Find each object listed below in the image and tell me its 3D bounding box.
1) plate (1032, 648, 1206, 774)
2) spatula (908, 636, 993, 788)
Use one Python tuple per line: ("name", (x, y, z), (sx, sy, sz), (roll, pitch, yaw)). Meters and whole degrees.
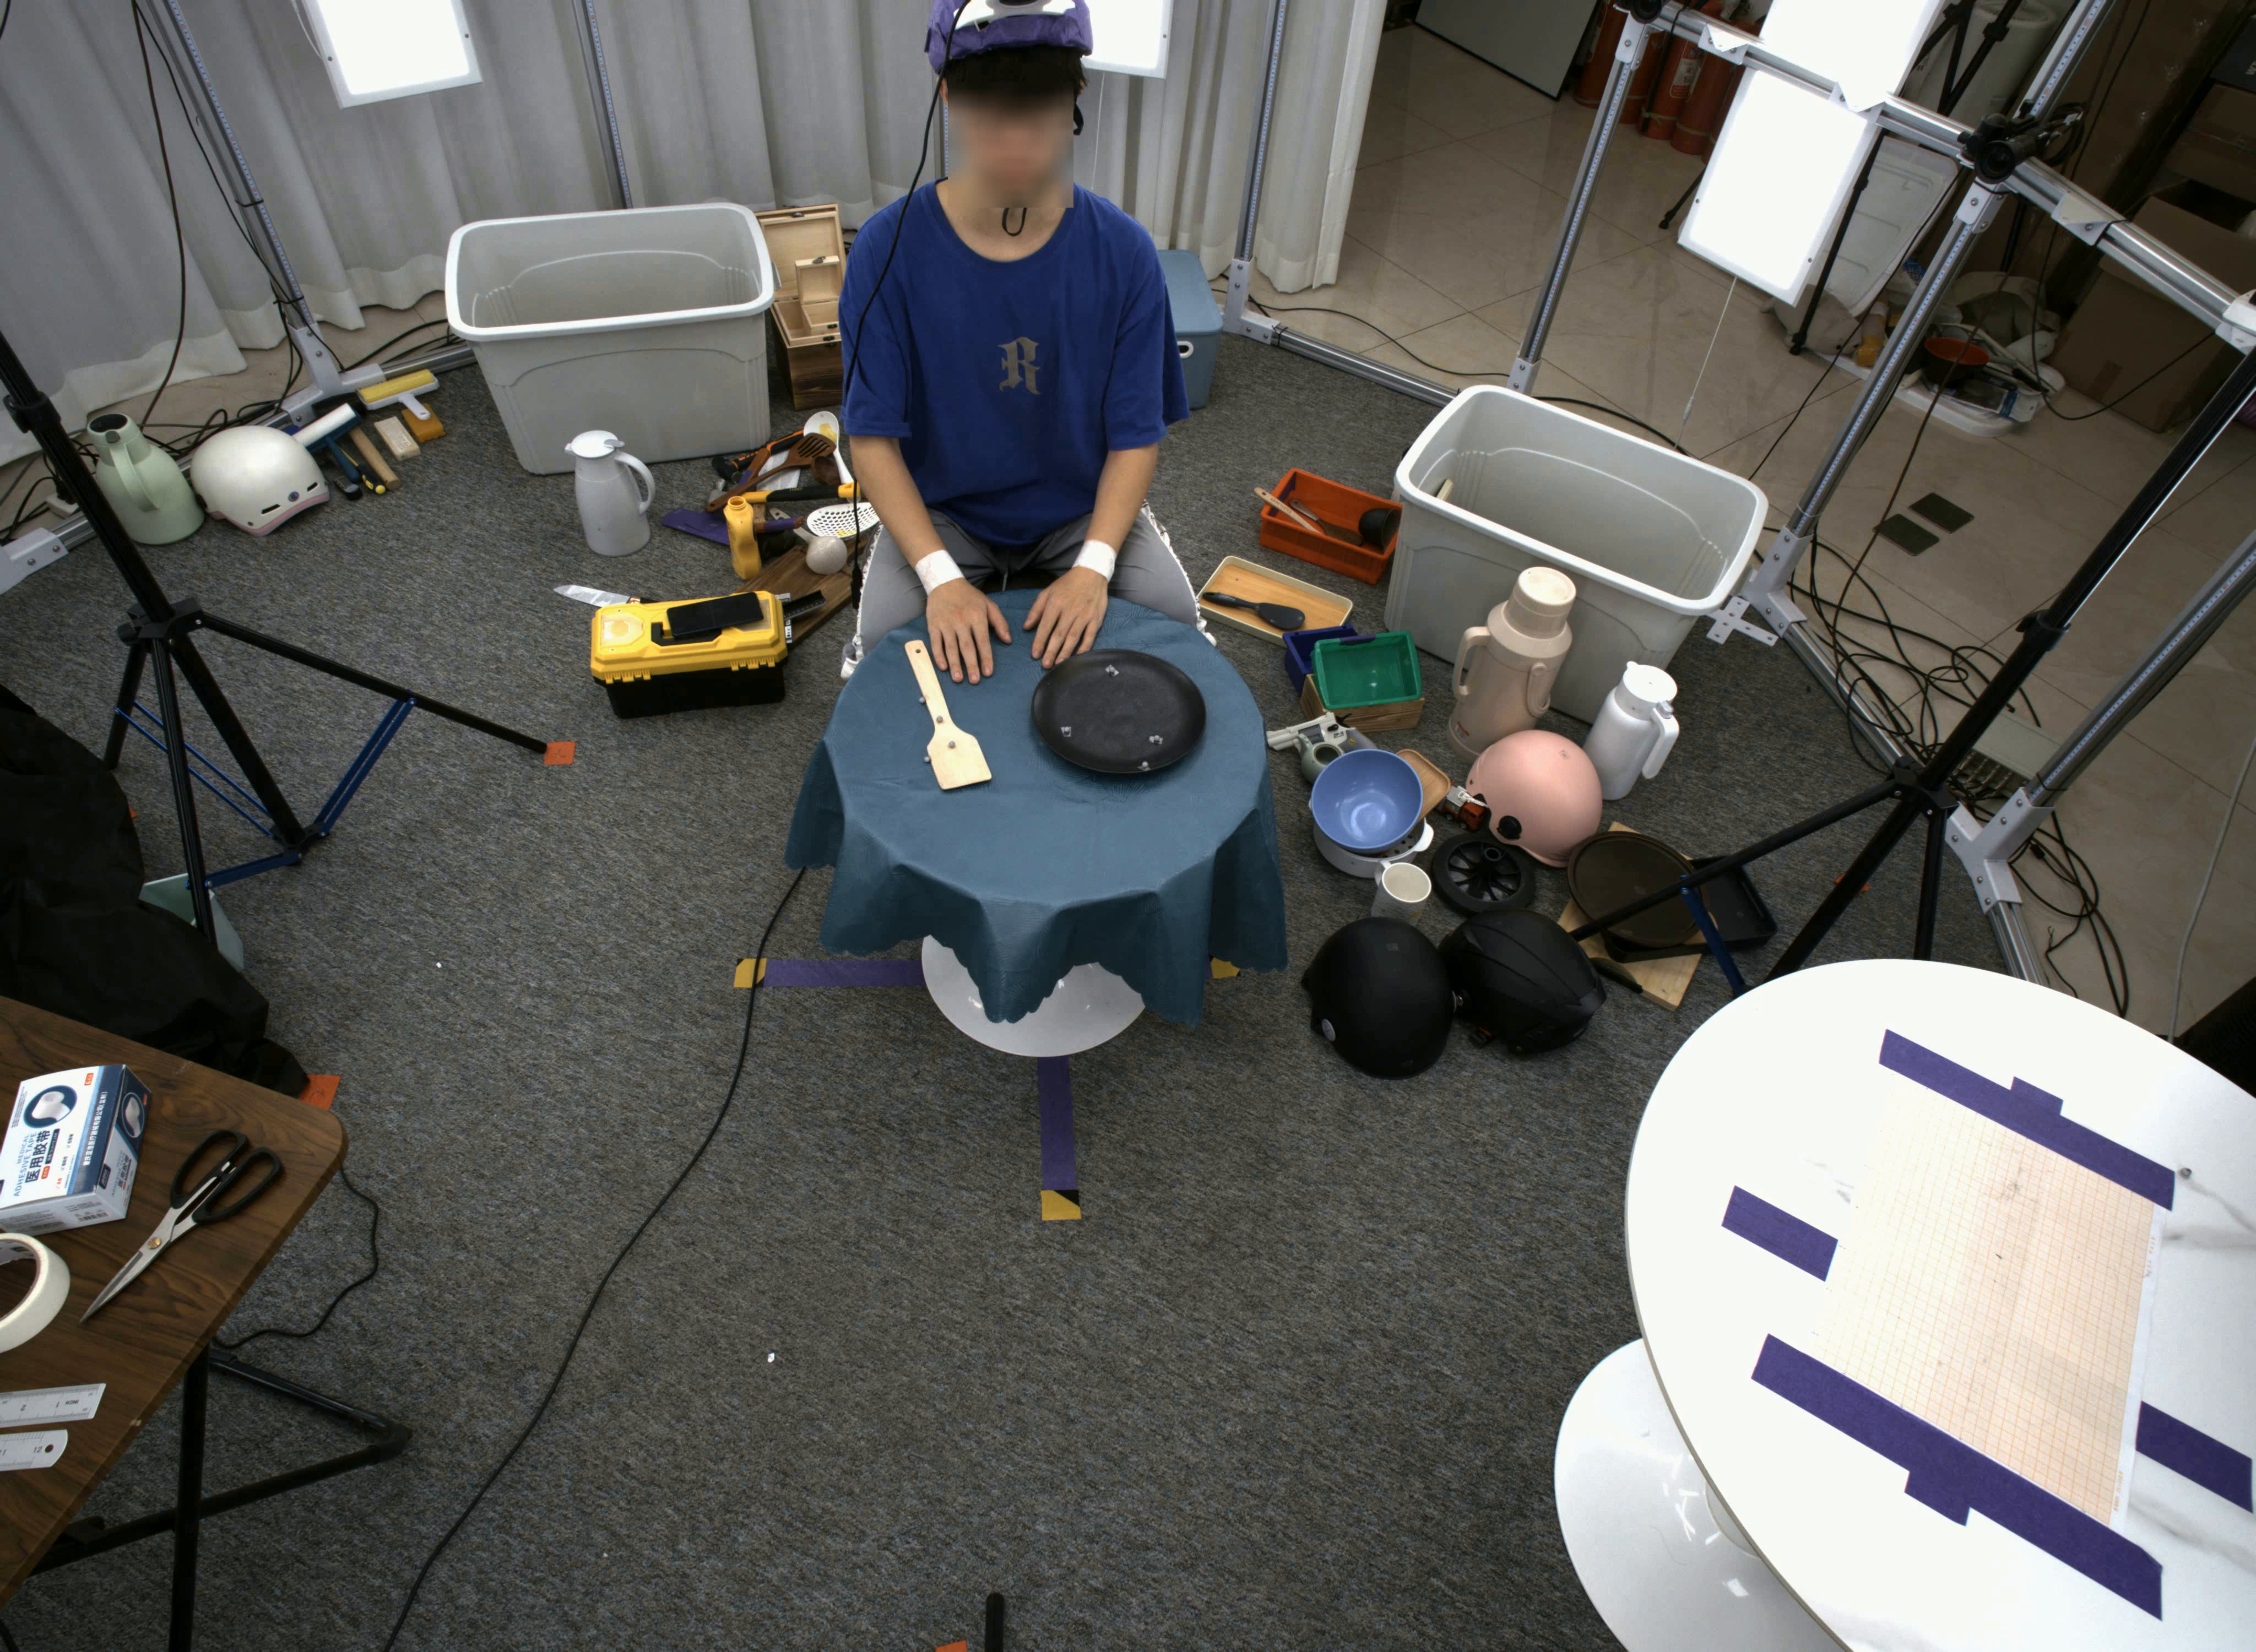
("plate", (-0.012, -0.159, 1.794), (0.244, 0.023, 0.250), (1, 50, -2))
("spatula", (-0.261, -0.165, 1.792), (0.072, 0.010, 0.300), (-14, 52, -13))
